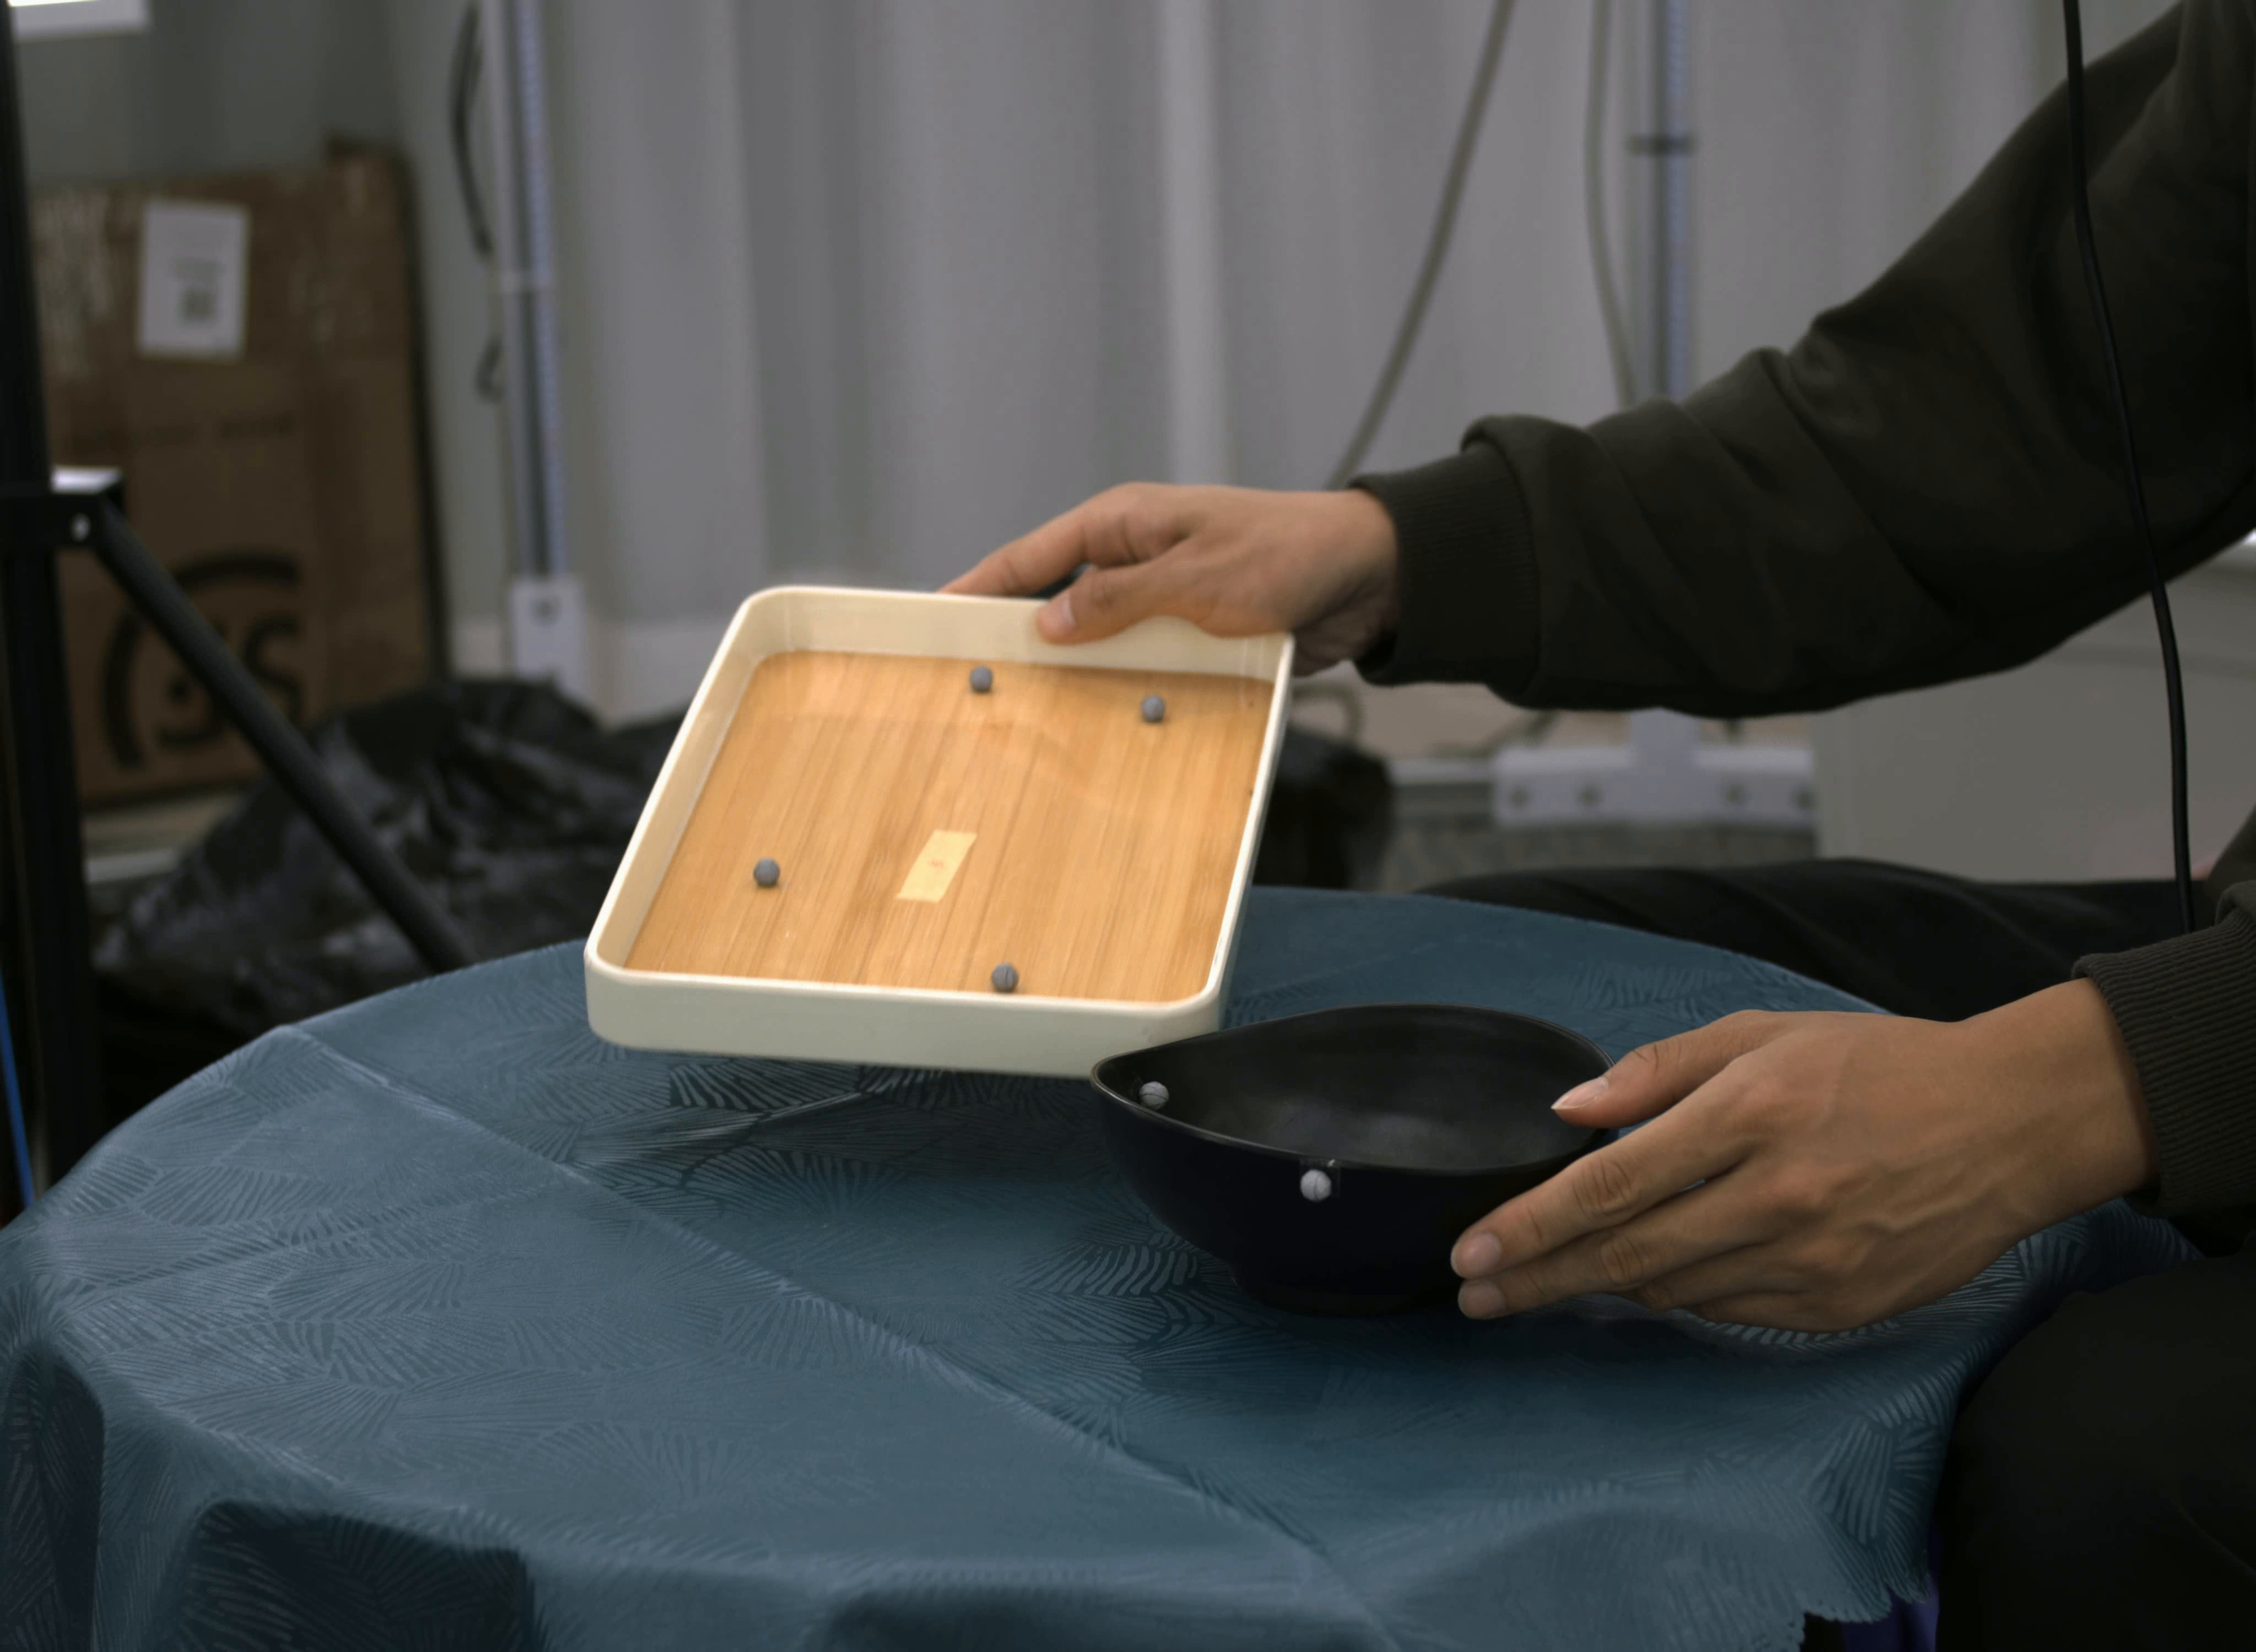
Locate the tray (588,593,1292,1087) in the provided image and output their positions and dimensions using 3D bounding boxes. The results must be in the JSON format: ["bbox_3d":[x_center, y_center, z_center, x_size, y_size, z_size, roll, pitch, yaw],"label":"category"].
[{"bbox_3d":[-0.052,-0.001,1.694,0.192,0.027,0.300,3,26,7],"label":"tray"}]

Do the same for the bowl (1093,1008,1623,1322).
[{"bbox_3d":[0.062,0.098,1.476,0.134,0.067,0.174,-11,16,-33],"label":"bowl"}]
